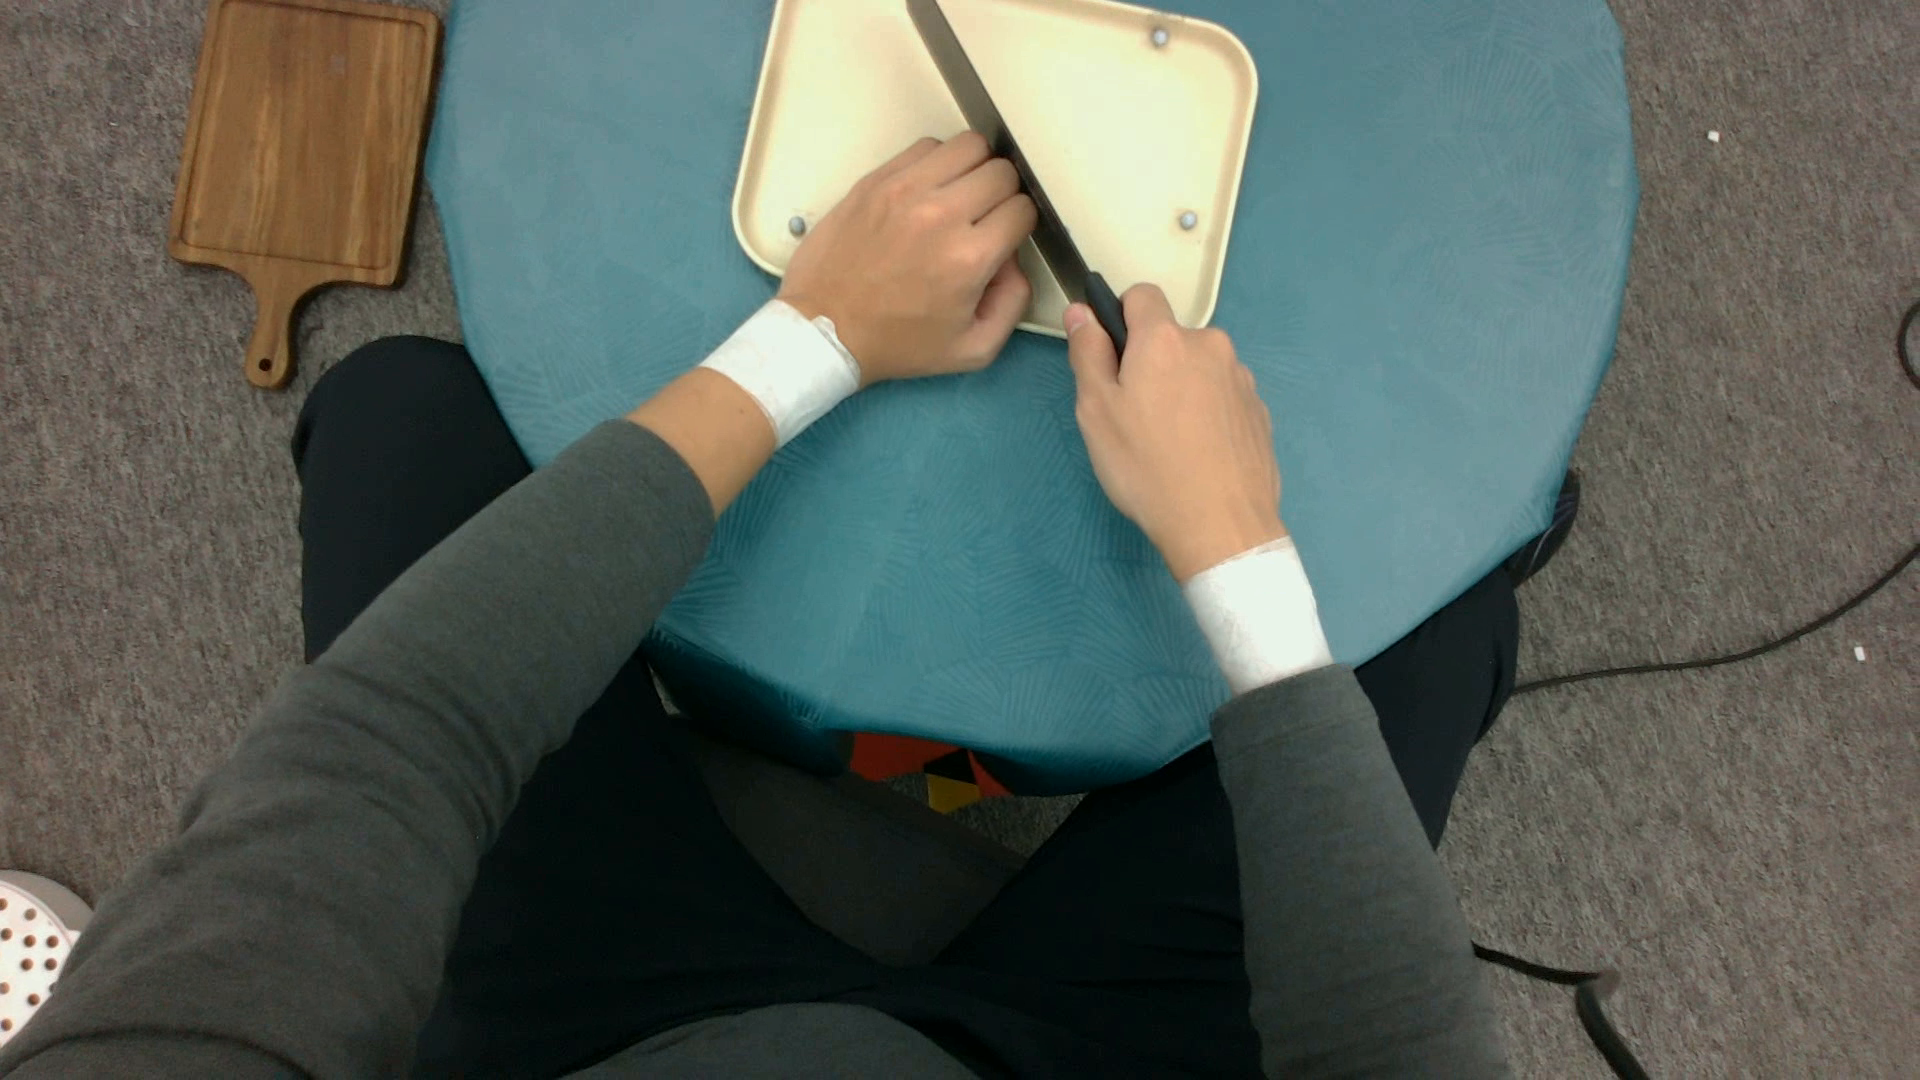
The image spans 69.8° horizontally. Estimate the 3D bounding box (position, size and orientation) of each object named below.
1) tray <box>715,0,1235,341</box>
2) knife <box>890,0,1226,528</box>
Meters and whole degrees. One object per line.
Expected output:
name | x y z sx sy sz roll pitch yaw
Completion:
tray | 0.009 -0.196 0.678 0.240 0.017 0.171 11 85 -3
knife | 0.039 -0.139 0.640 0.021 0.081 0.302 -30 83 -3
